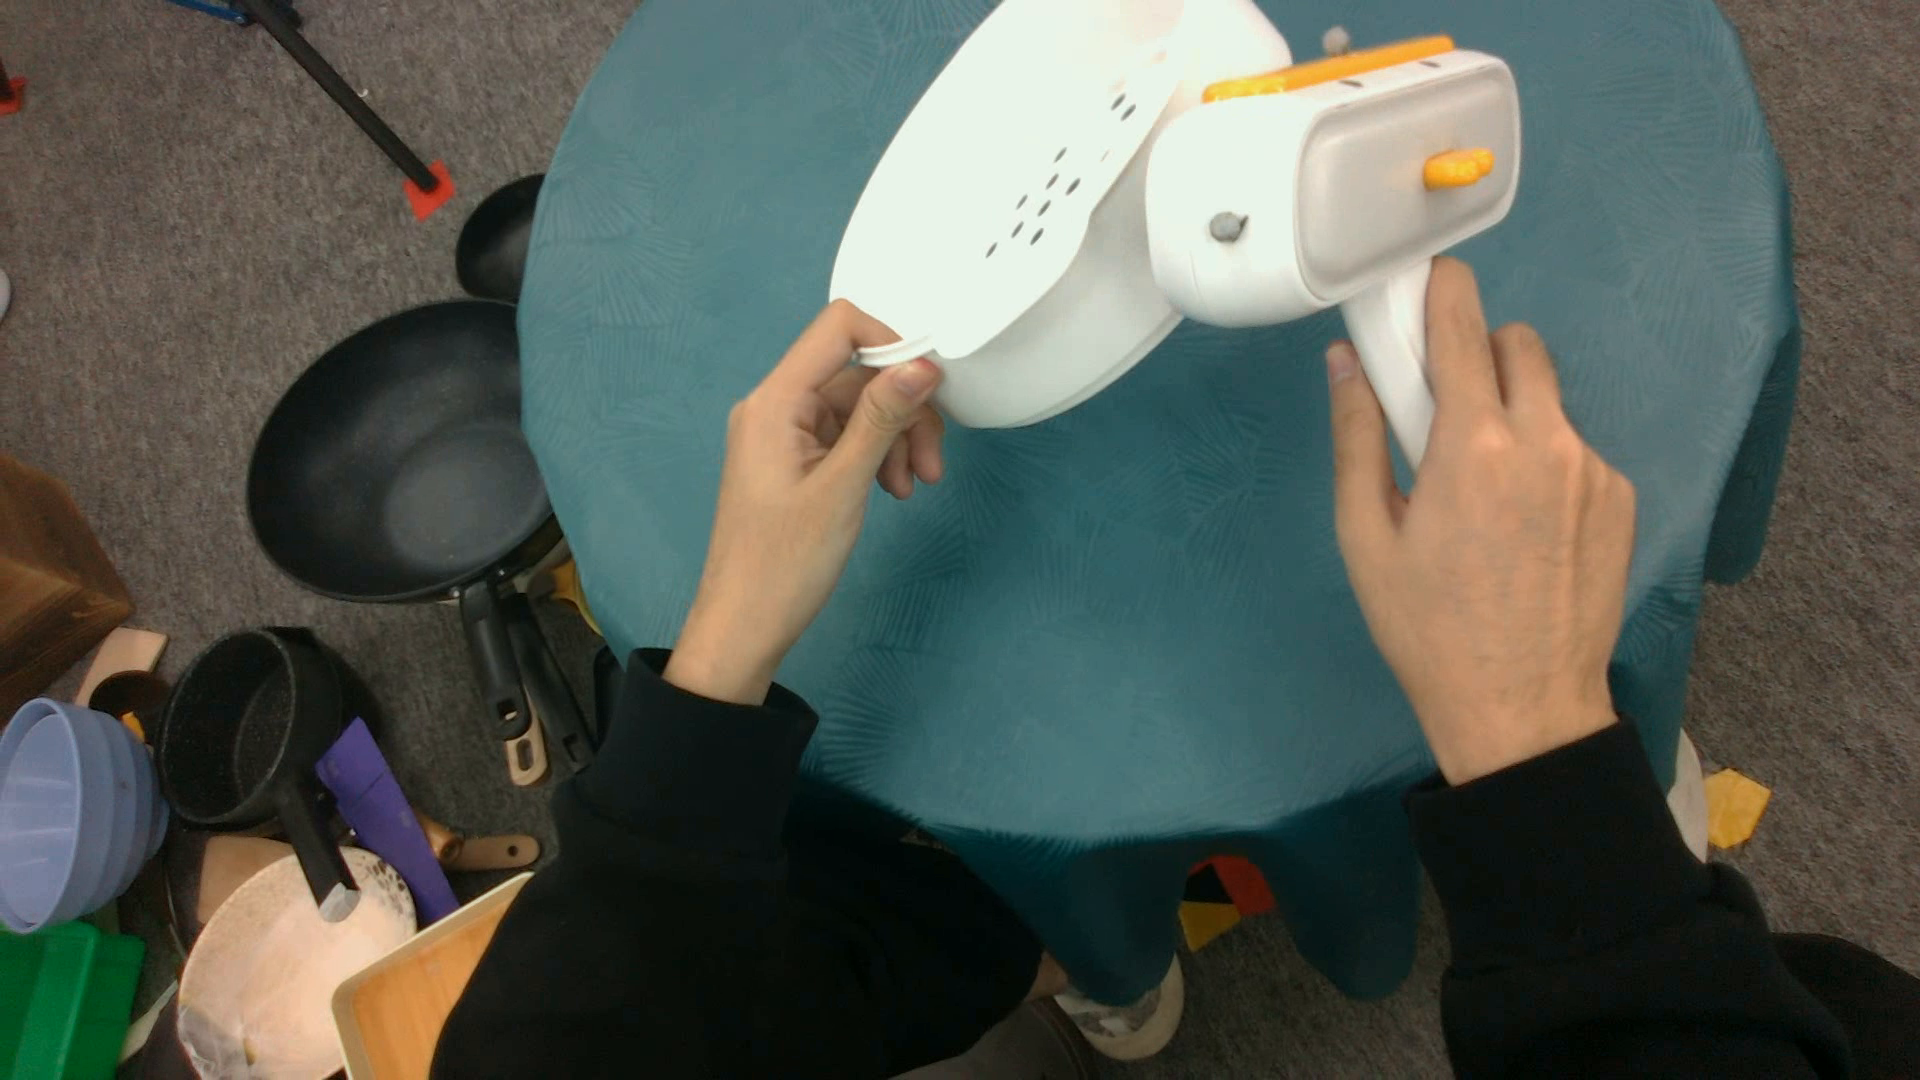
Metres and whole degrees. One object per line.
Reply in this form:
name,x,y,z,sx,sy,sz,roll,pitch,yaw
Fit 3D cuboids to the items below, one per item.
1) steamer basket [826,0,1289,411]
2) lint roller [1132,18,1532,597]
steamer basket,0.034,-0.146,0.545,0.201,0.069,0.231,-37,36,31
lint roller,0.143,-0.069,0.461,0.074,0.194,0.192,-5,110,38
